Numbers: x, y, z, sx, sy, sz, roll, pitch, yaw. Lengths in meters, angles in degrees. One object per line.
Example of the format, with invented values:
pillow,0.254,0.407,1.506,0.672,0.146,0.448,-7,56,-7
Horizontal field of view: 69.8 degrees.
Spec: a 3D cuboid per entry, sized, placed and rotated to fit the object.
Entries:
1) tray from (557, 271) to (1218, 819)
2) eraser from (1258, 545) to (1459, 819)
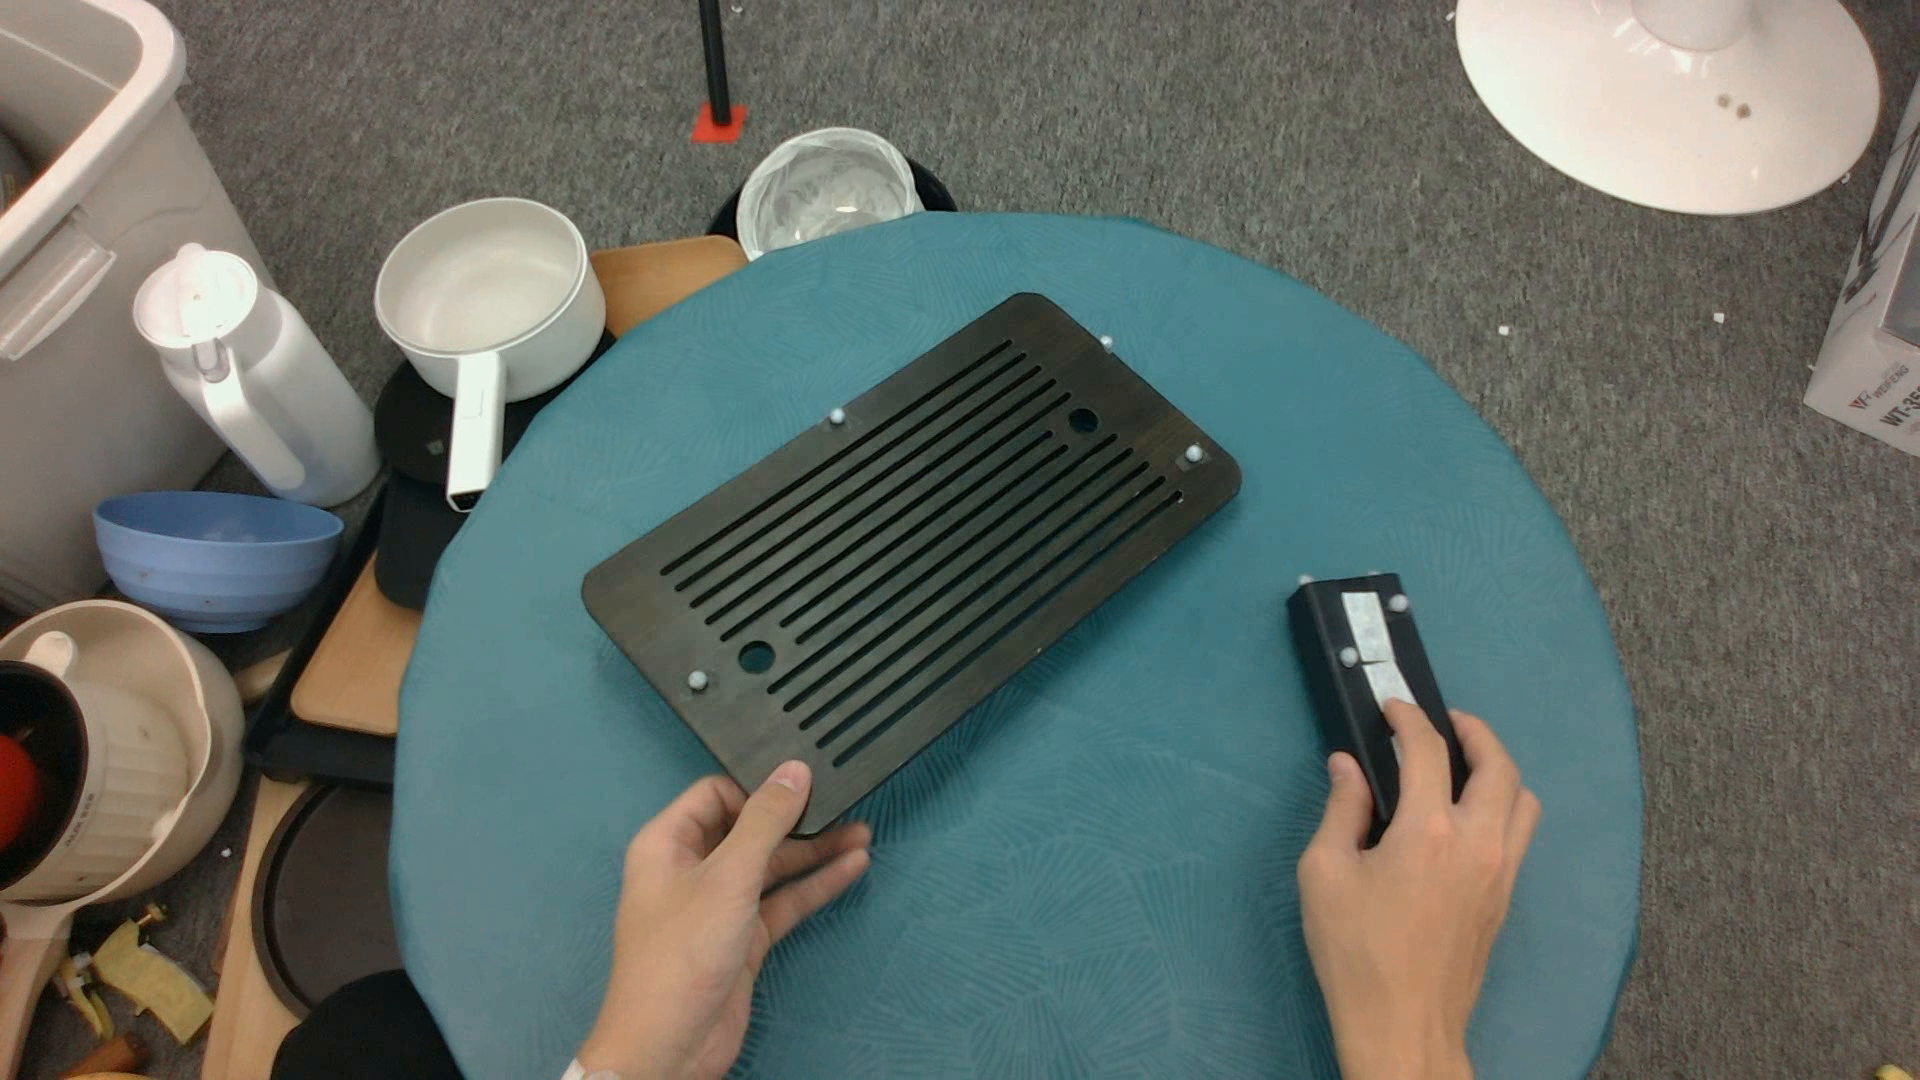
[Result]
tray,-0.027,-0.013,0.681,0.307,0.018,0.170,-36,71,-26
eraser,0.186,0.066,0.652,0.053,0.030,0.126,-10,64,-10
